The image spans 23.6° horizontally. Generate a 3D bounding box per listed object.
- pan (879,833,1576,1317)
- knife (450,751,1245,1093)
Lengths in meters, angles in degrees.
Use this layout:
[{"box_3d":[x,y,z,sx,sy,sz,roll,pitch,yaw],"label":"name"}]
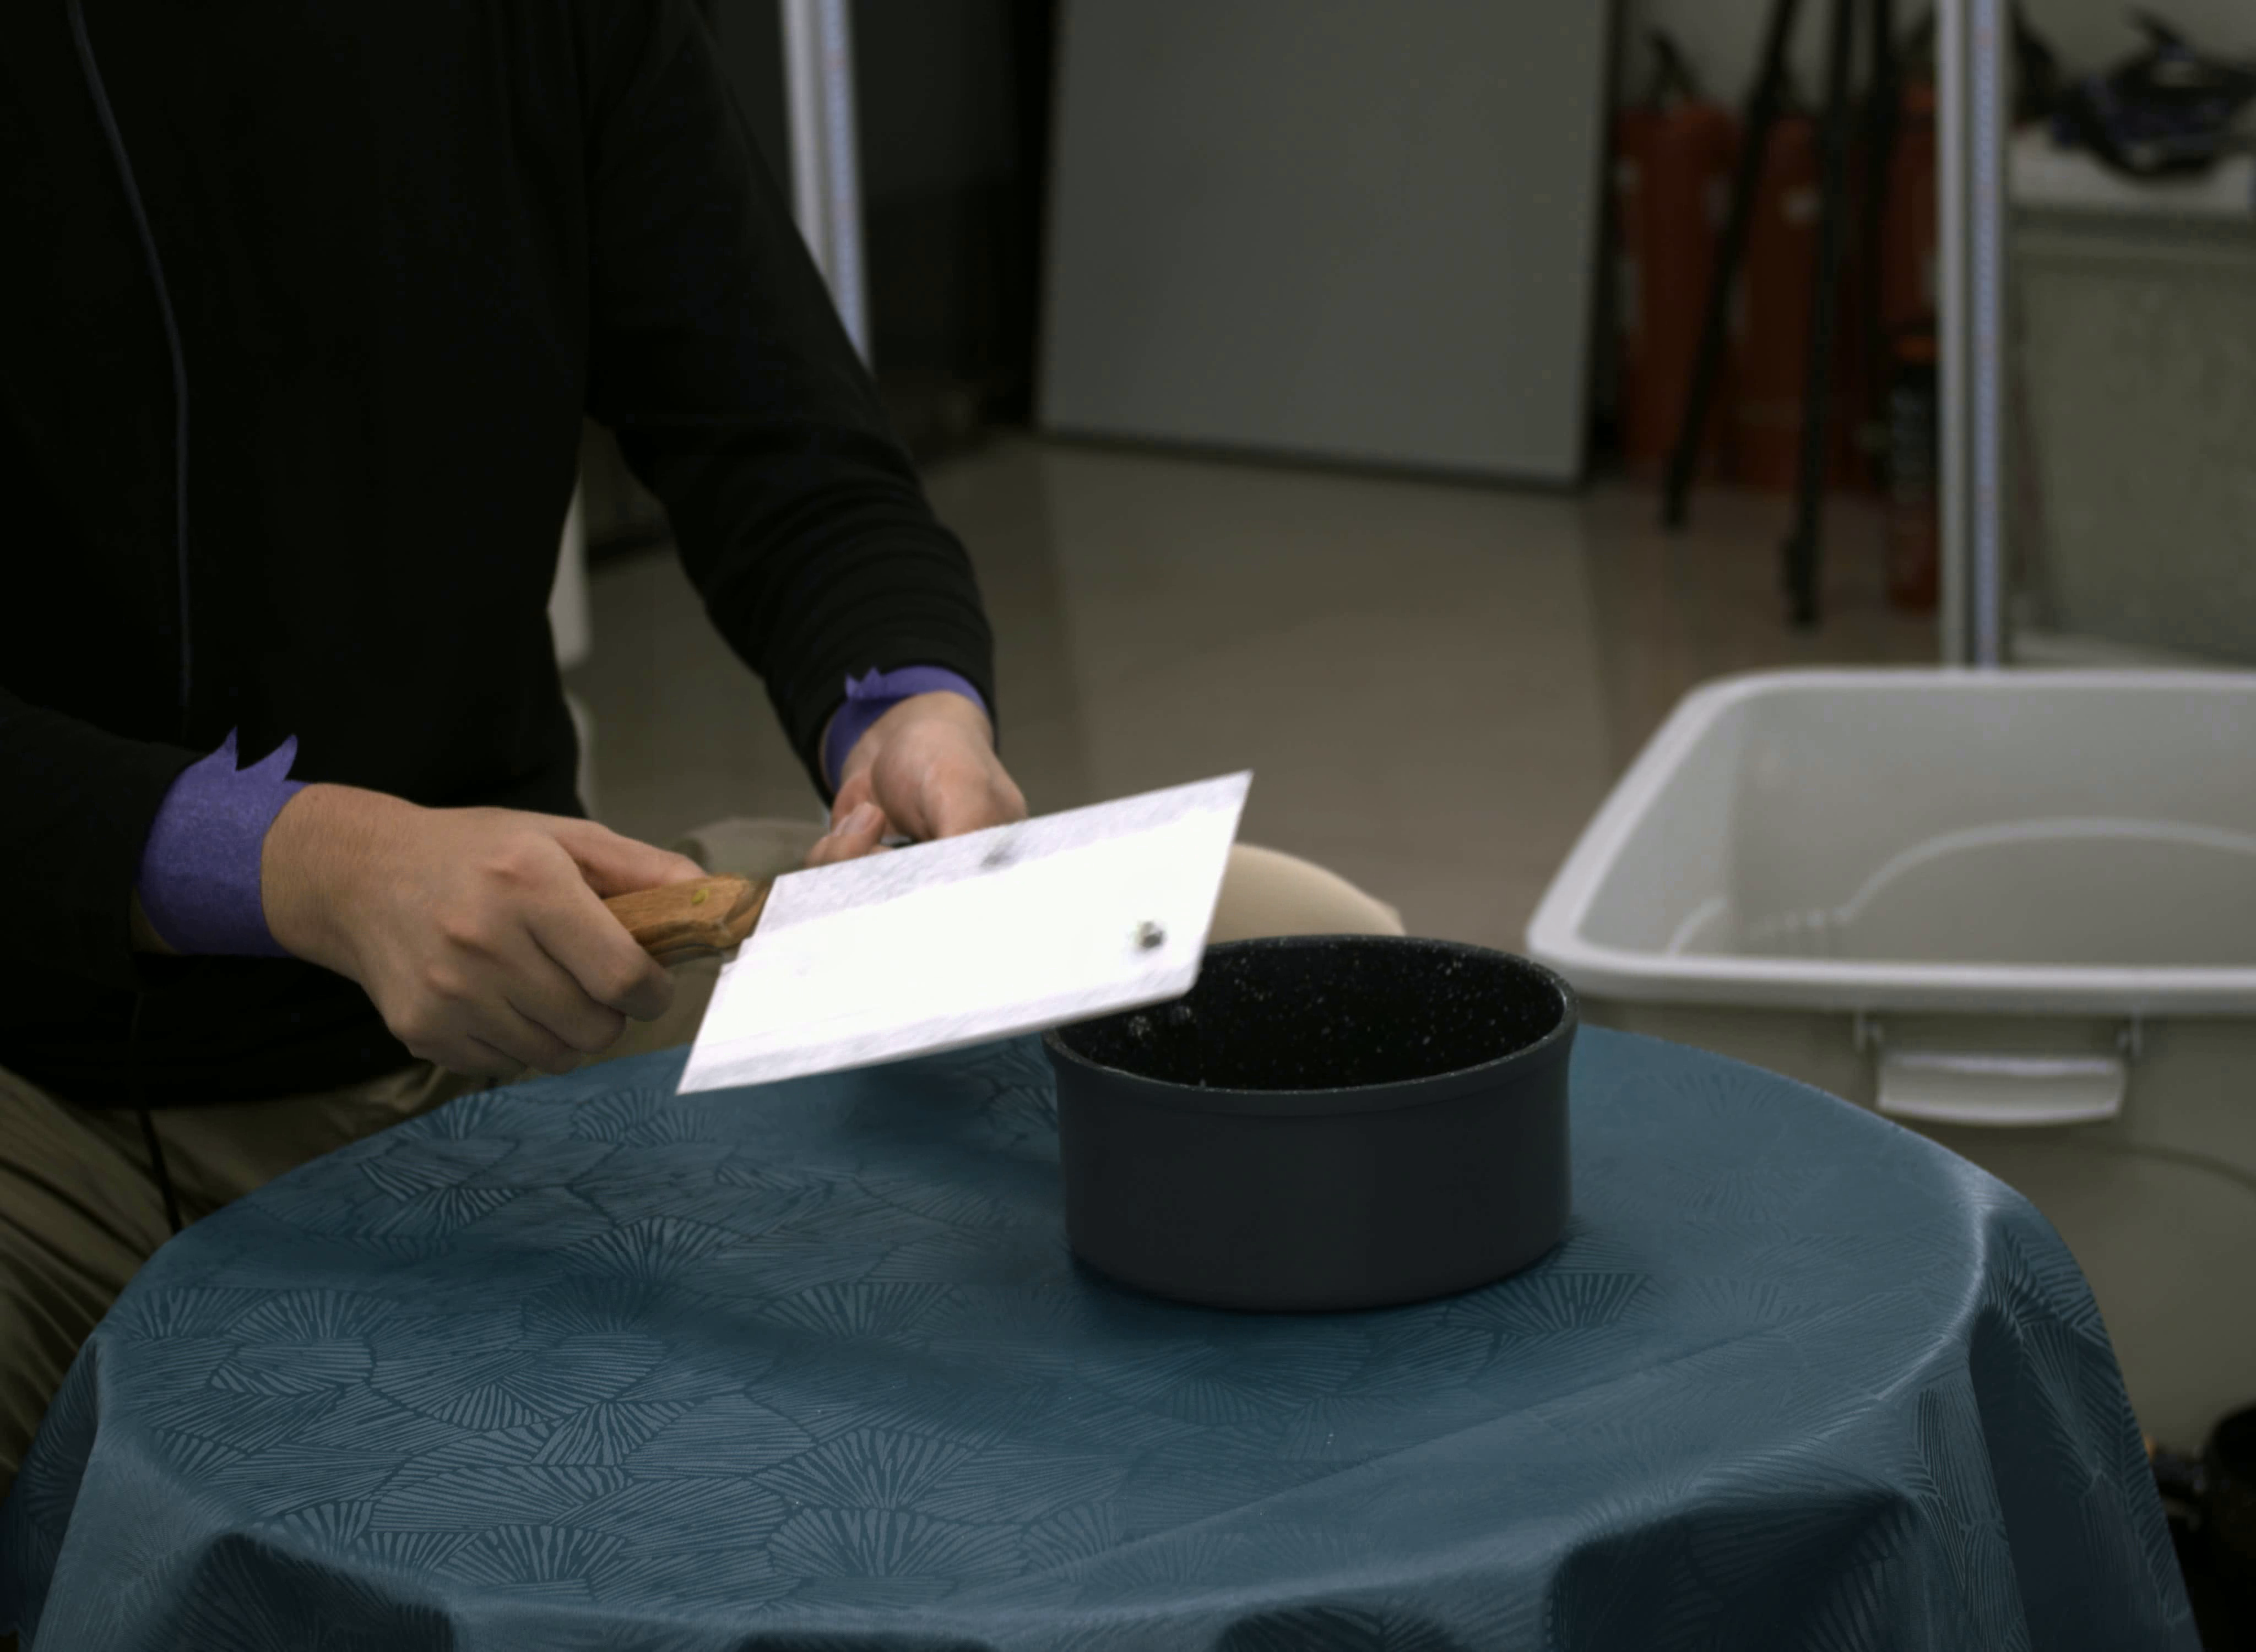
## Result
[{"box_3d":[0.014,0.076,1.771,0.168,0.087,0.332,-13,18,-31],"label":"pan"},{"box_3d":[-0.096,0.040,1.688,0.307,0.021,0.093,-14,42,31],"label":"knife"}]
